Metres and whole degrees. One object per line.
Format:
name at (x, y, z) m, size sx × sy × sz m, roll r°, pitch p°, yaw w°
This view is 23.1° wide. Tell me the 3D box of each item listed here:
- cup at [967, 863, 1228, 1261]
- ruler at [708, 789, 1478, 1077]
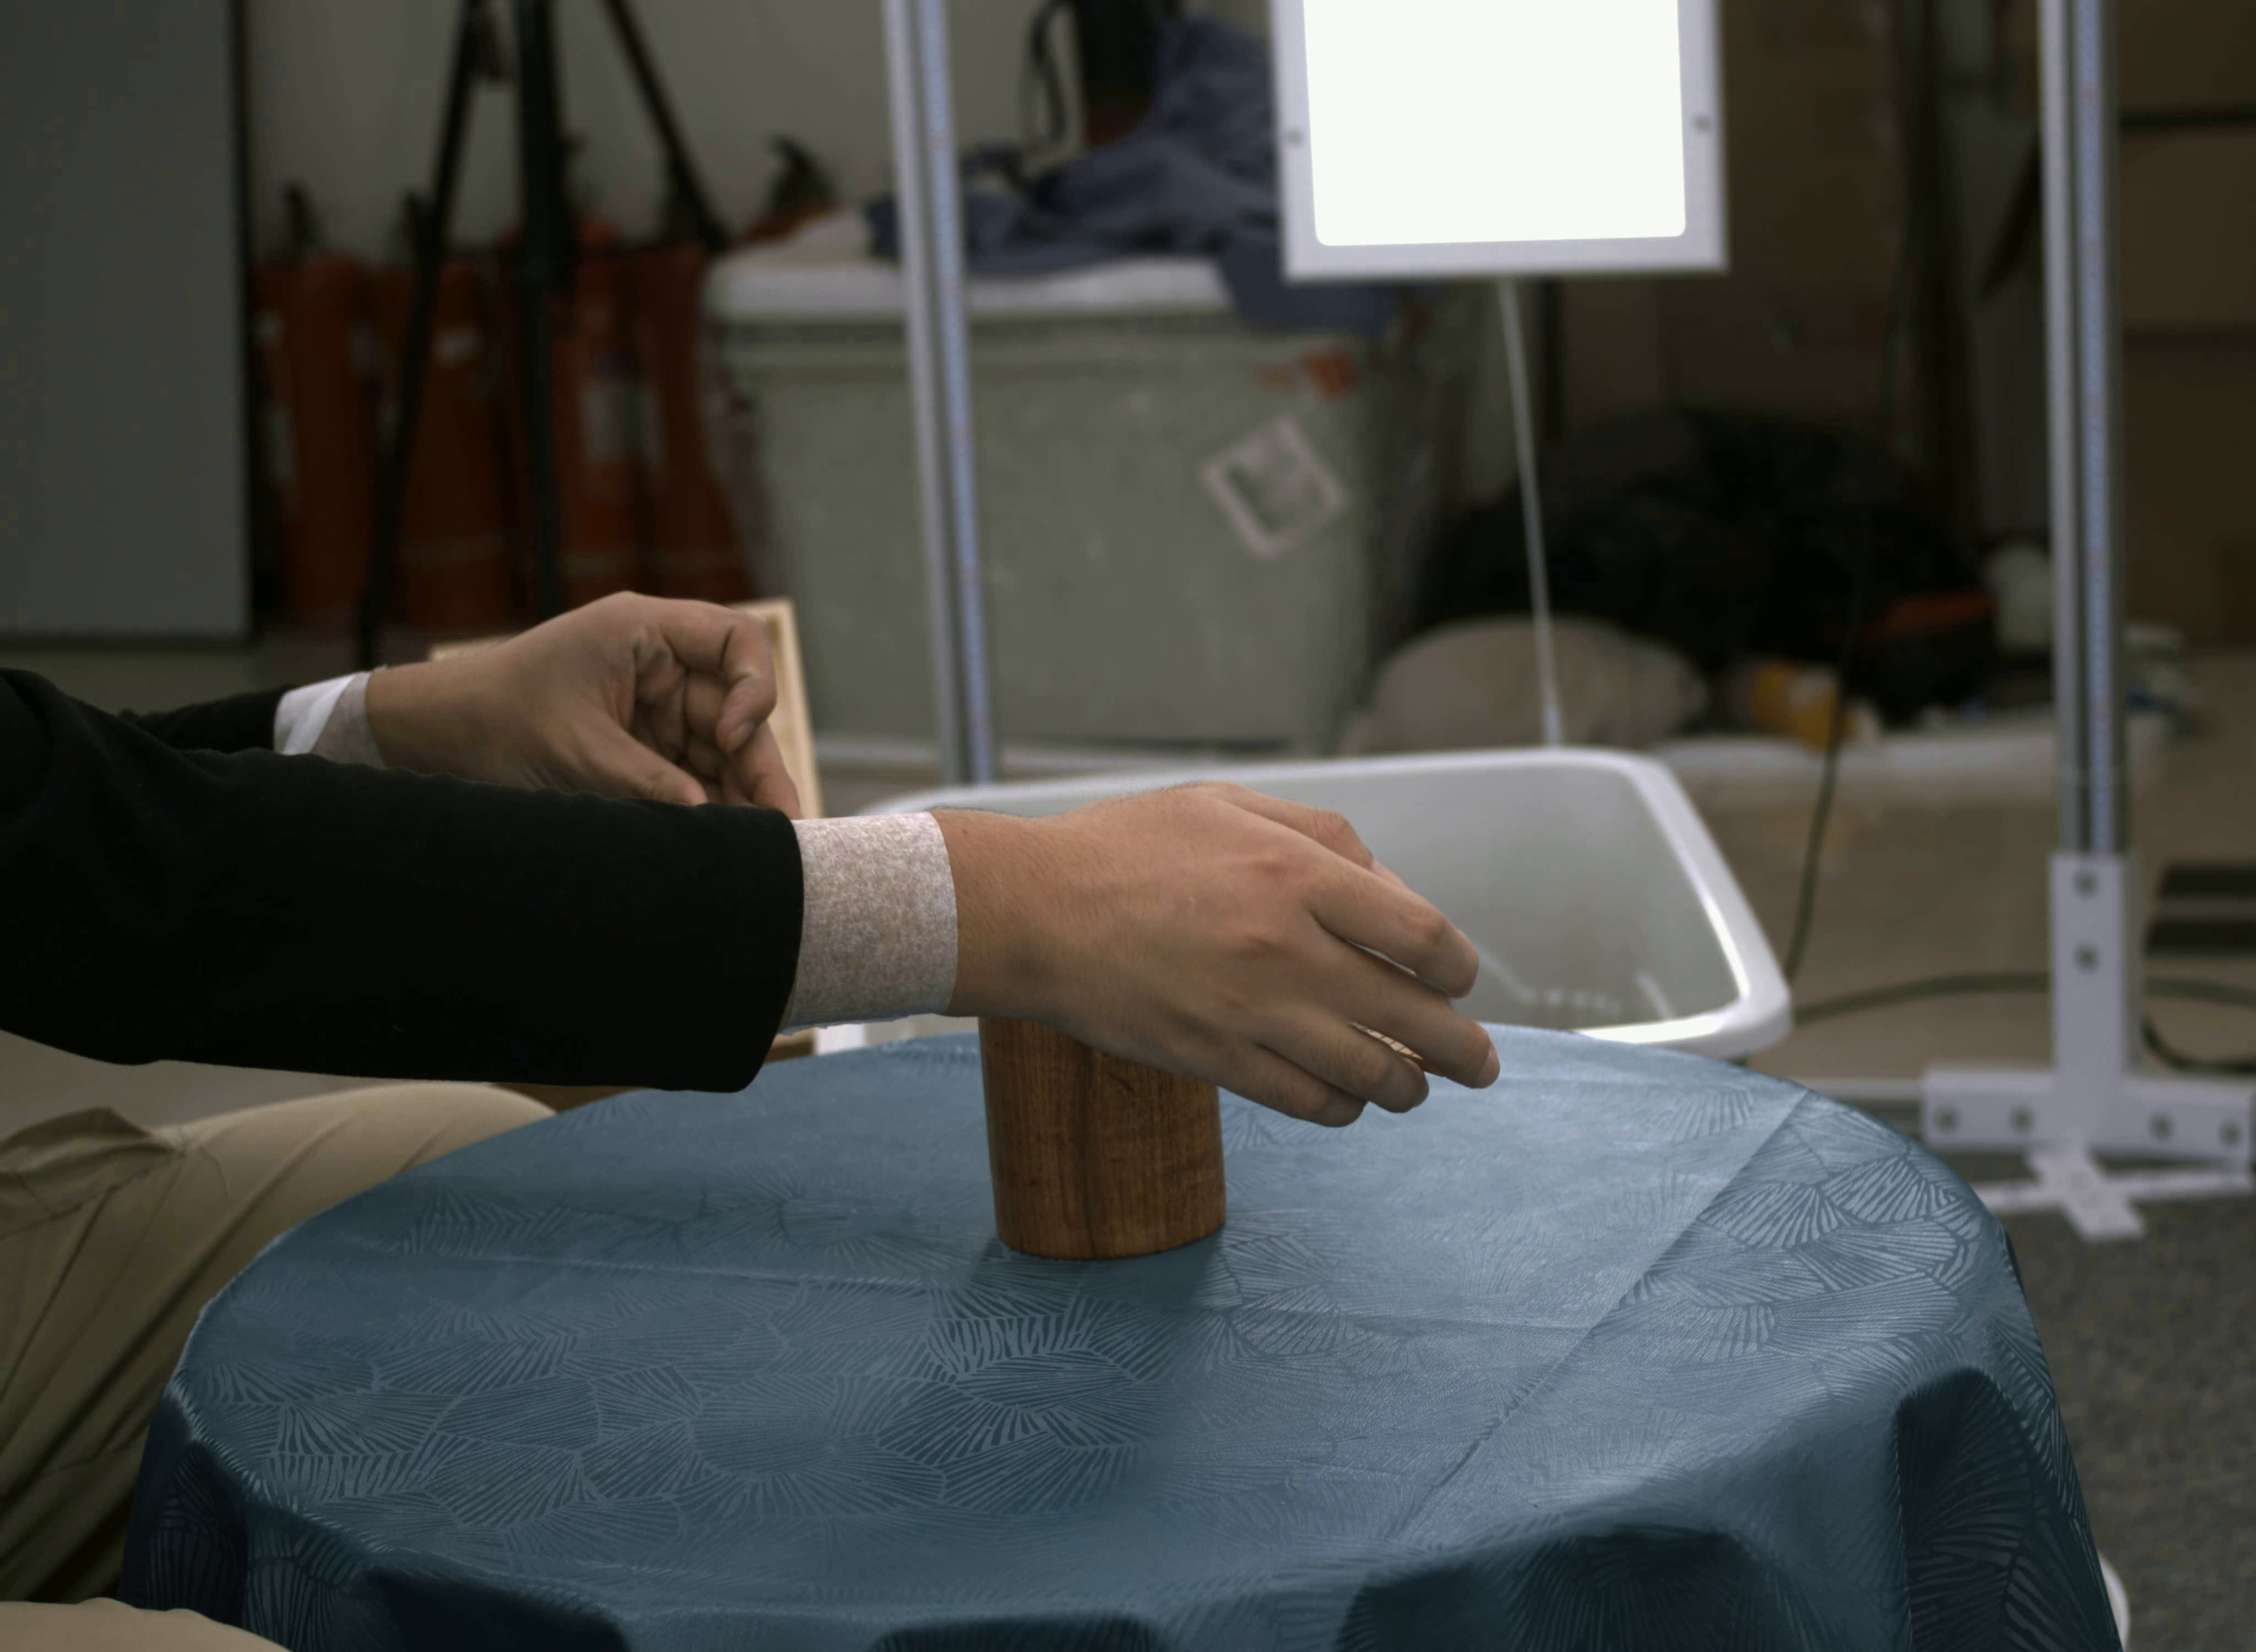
cup at (-0.008, 0.079, 1.852) m, size 0.087 × 0.119 × 0.087 m, roll -5°, pitch 13°, yaw 0°
ruler at (-0.019, 0.030, 1.807) m, size 0.027 × 0.022 × 0.338 m, roll -18°, pitch 26°, yaw -42°
